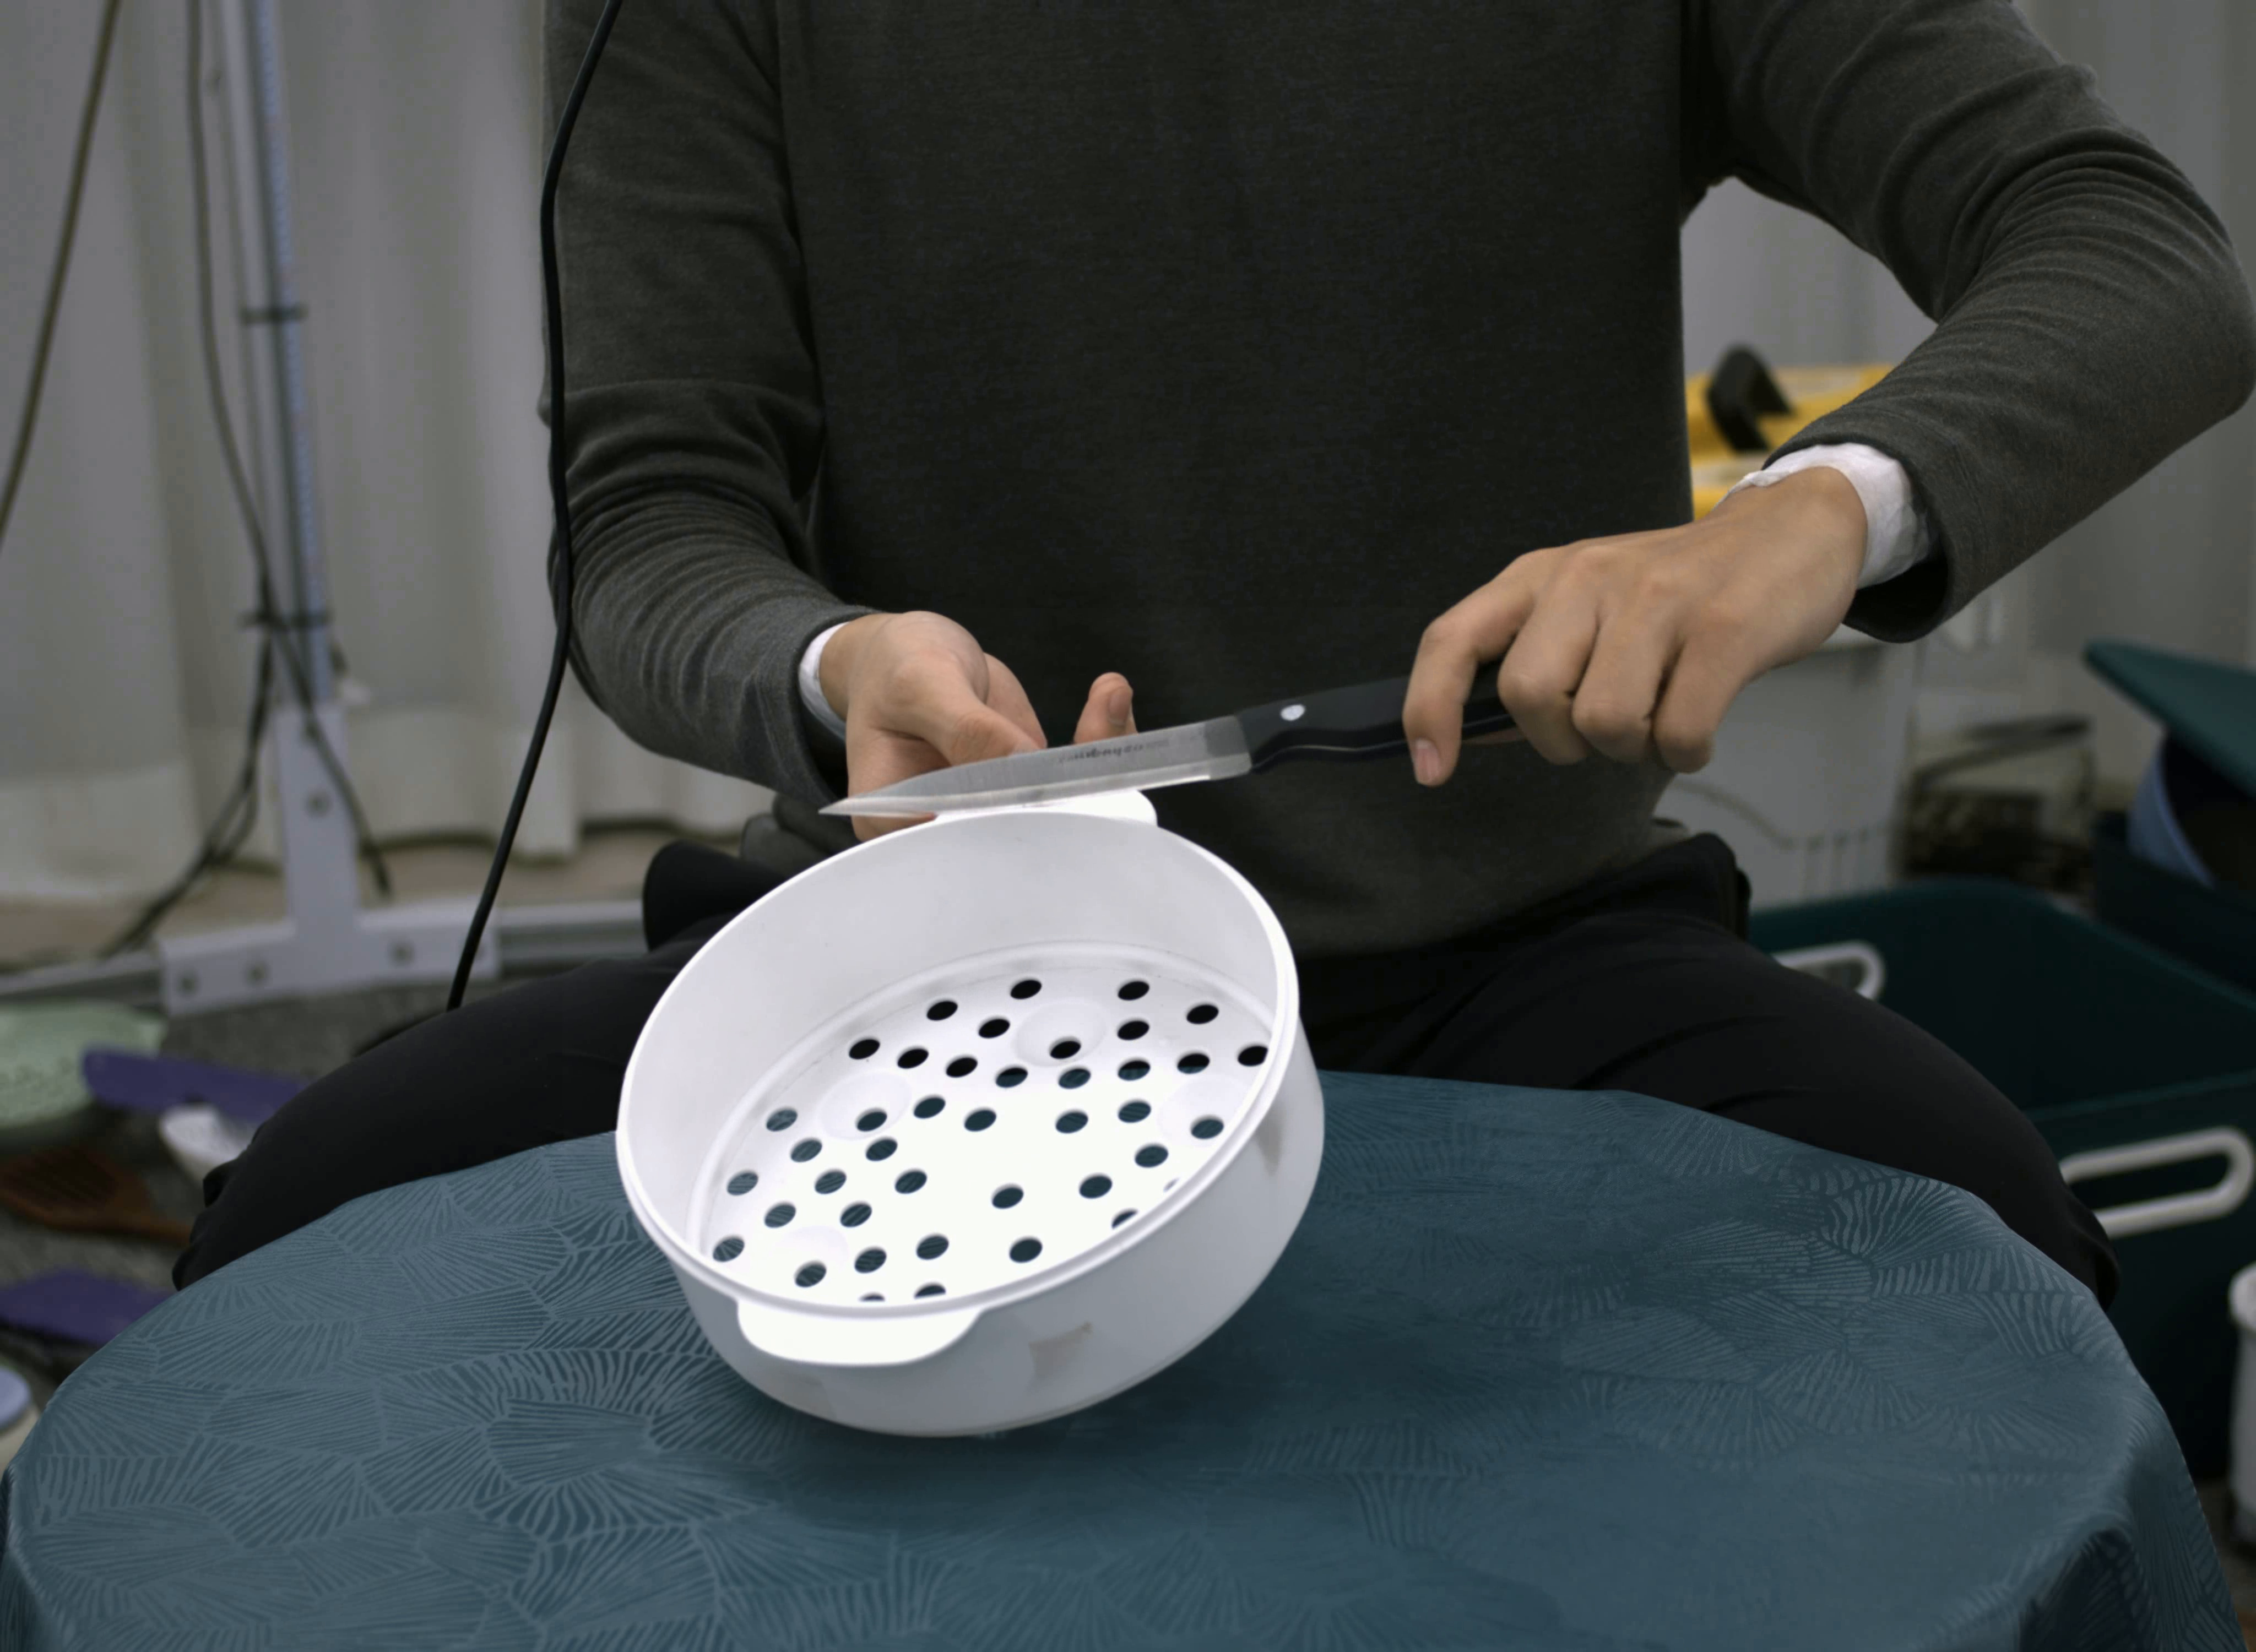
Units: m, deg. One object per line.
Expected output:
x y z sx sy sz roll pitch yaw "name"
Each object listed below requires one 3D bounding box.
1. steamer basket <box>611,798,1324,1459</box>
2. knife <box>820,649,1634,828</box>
-0.043 0.090 1.562 0.202 0.068 0.233 0 42 21 "steamer basket"
0.028 -0.023 1.579 0.237 0.016 0.025 -10 43 0 "knife"
